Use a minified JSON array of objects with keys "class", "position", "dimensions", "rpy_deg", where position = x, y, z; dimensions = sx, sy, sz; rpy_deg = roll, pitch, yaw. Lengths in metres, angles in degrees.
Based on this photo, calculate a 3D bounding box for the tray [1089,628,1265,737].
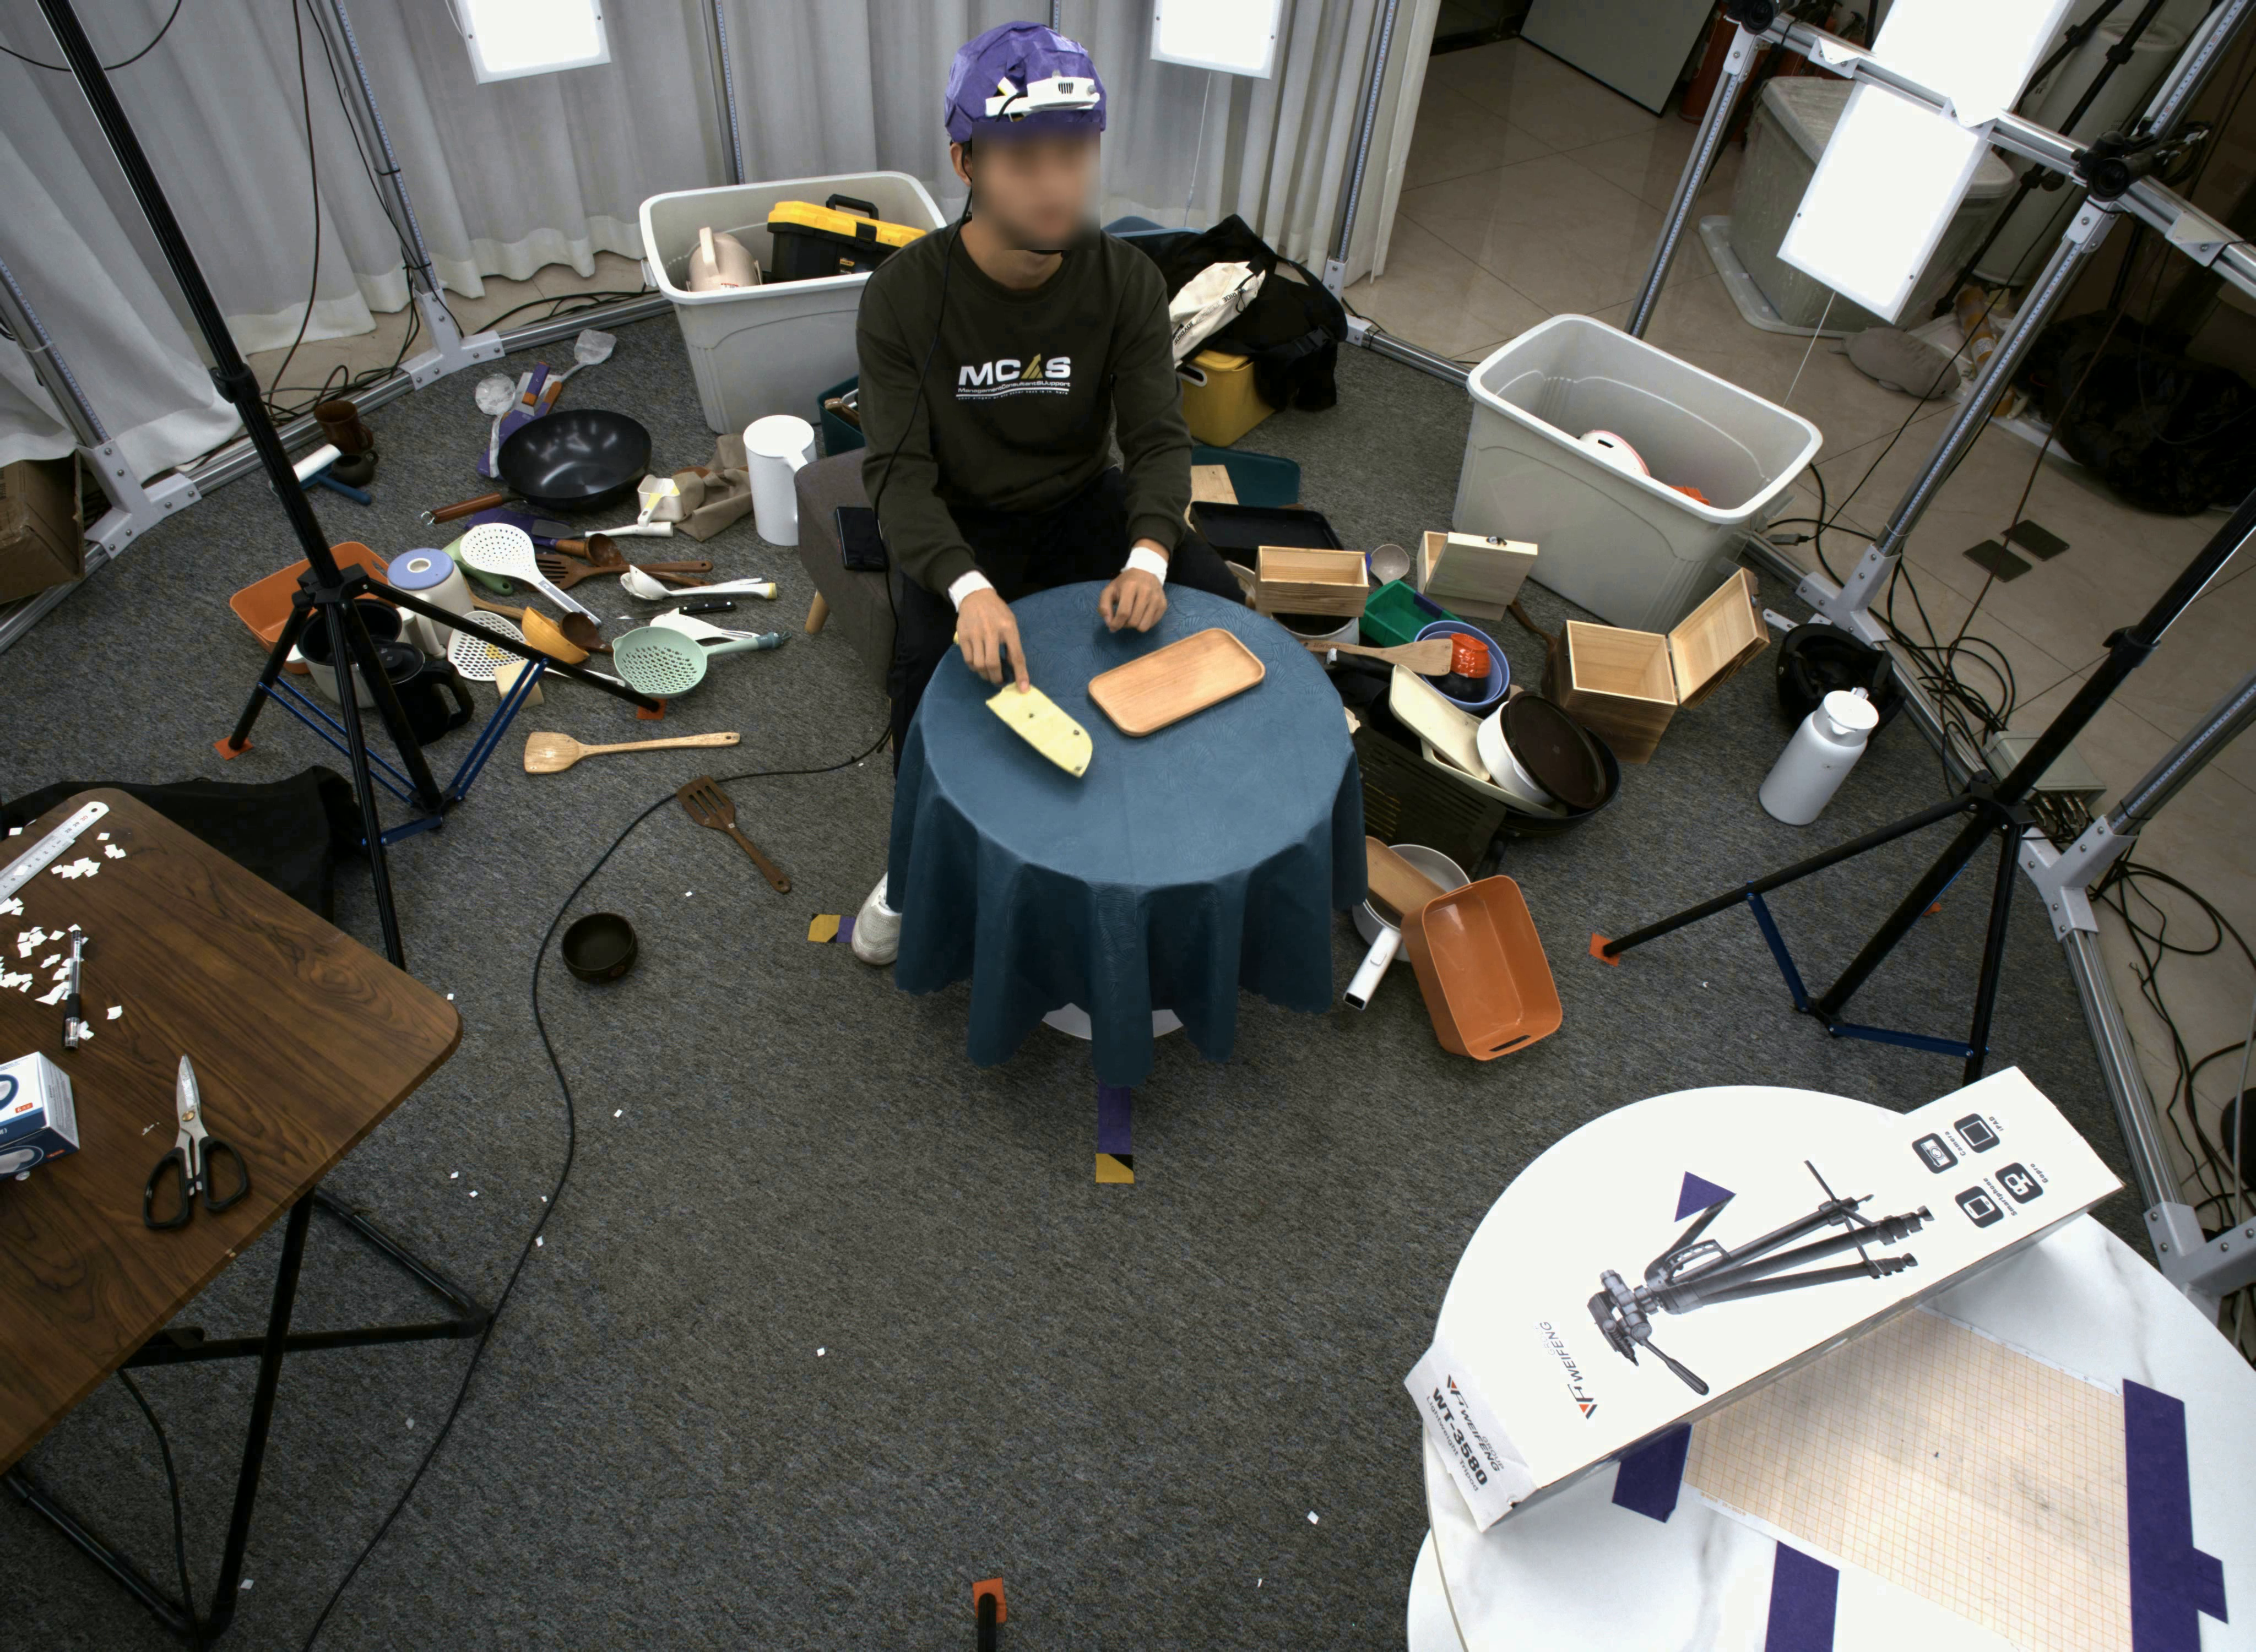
[{"class":"tray","position":[0.071,-0.207,1.841],"dimensions":[0.252,0.022,0.133],"rpy_deg":[-26,53,-23]}]

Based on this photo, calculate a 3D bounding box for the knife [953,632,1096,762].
[{"class":"knife","position":[-0.149,-0.175,1.744],"dimensions":[0.081,0.026,0.294],"rpy_deg":[-31,60,-32]}]
